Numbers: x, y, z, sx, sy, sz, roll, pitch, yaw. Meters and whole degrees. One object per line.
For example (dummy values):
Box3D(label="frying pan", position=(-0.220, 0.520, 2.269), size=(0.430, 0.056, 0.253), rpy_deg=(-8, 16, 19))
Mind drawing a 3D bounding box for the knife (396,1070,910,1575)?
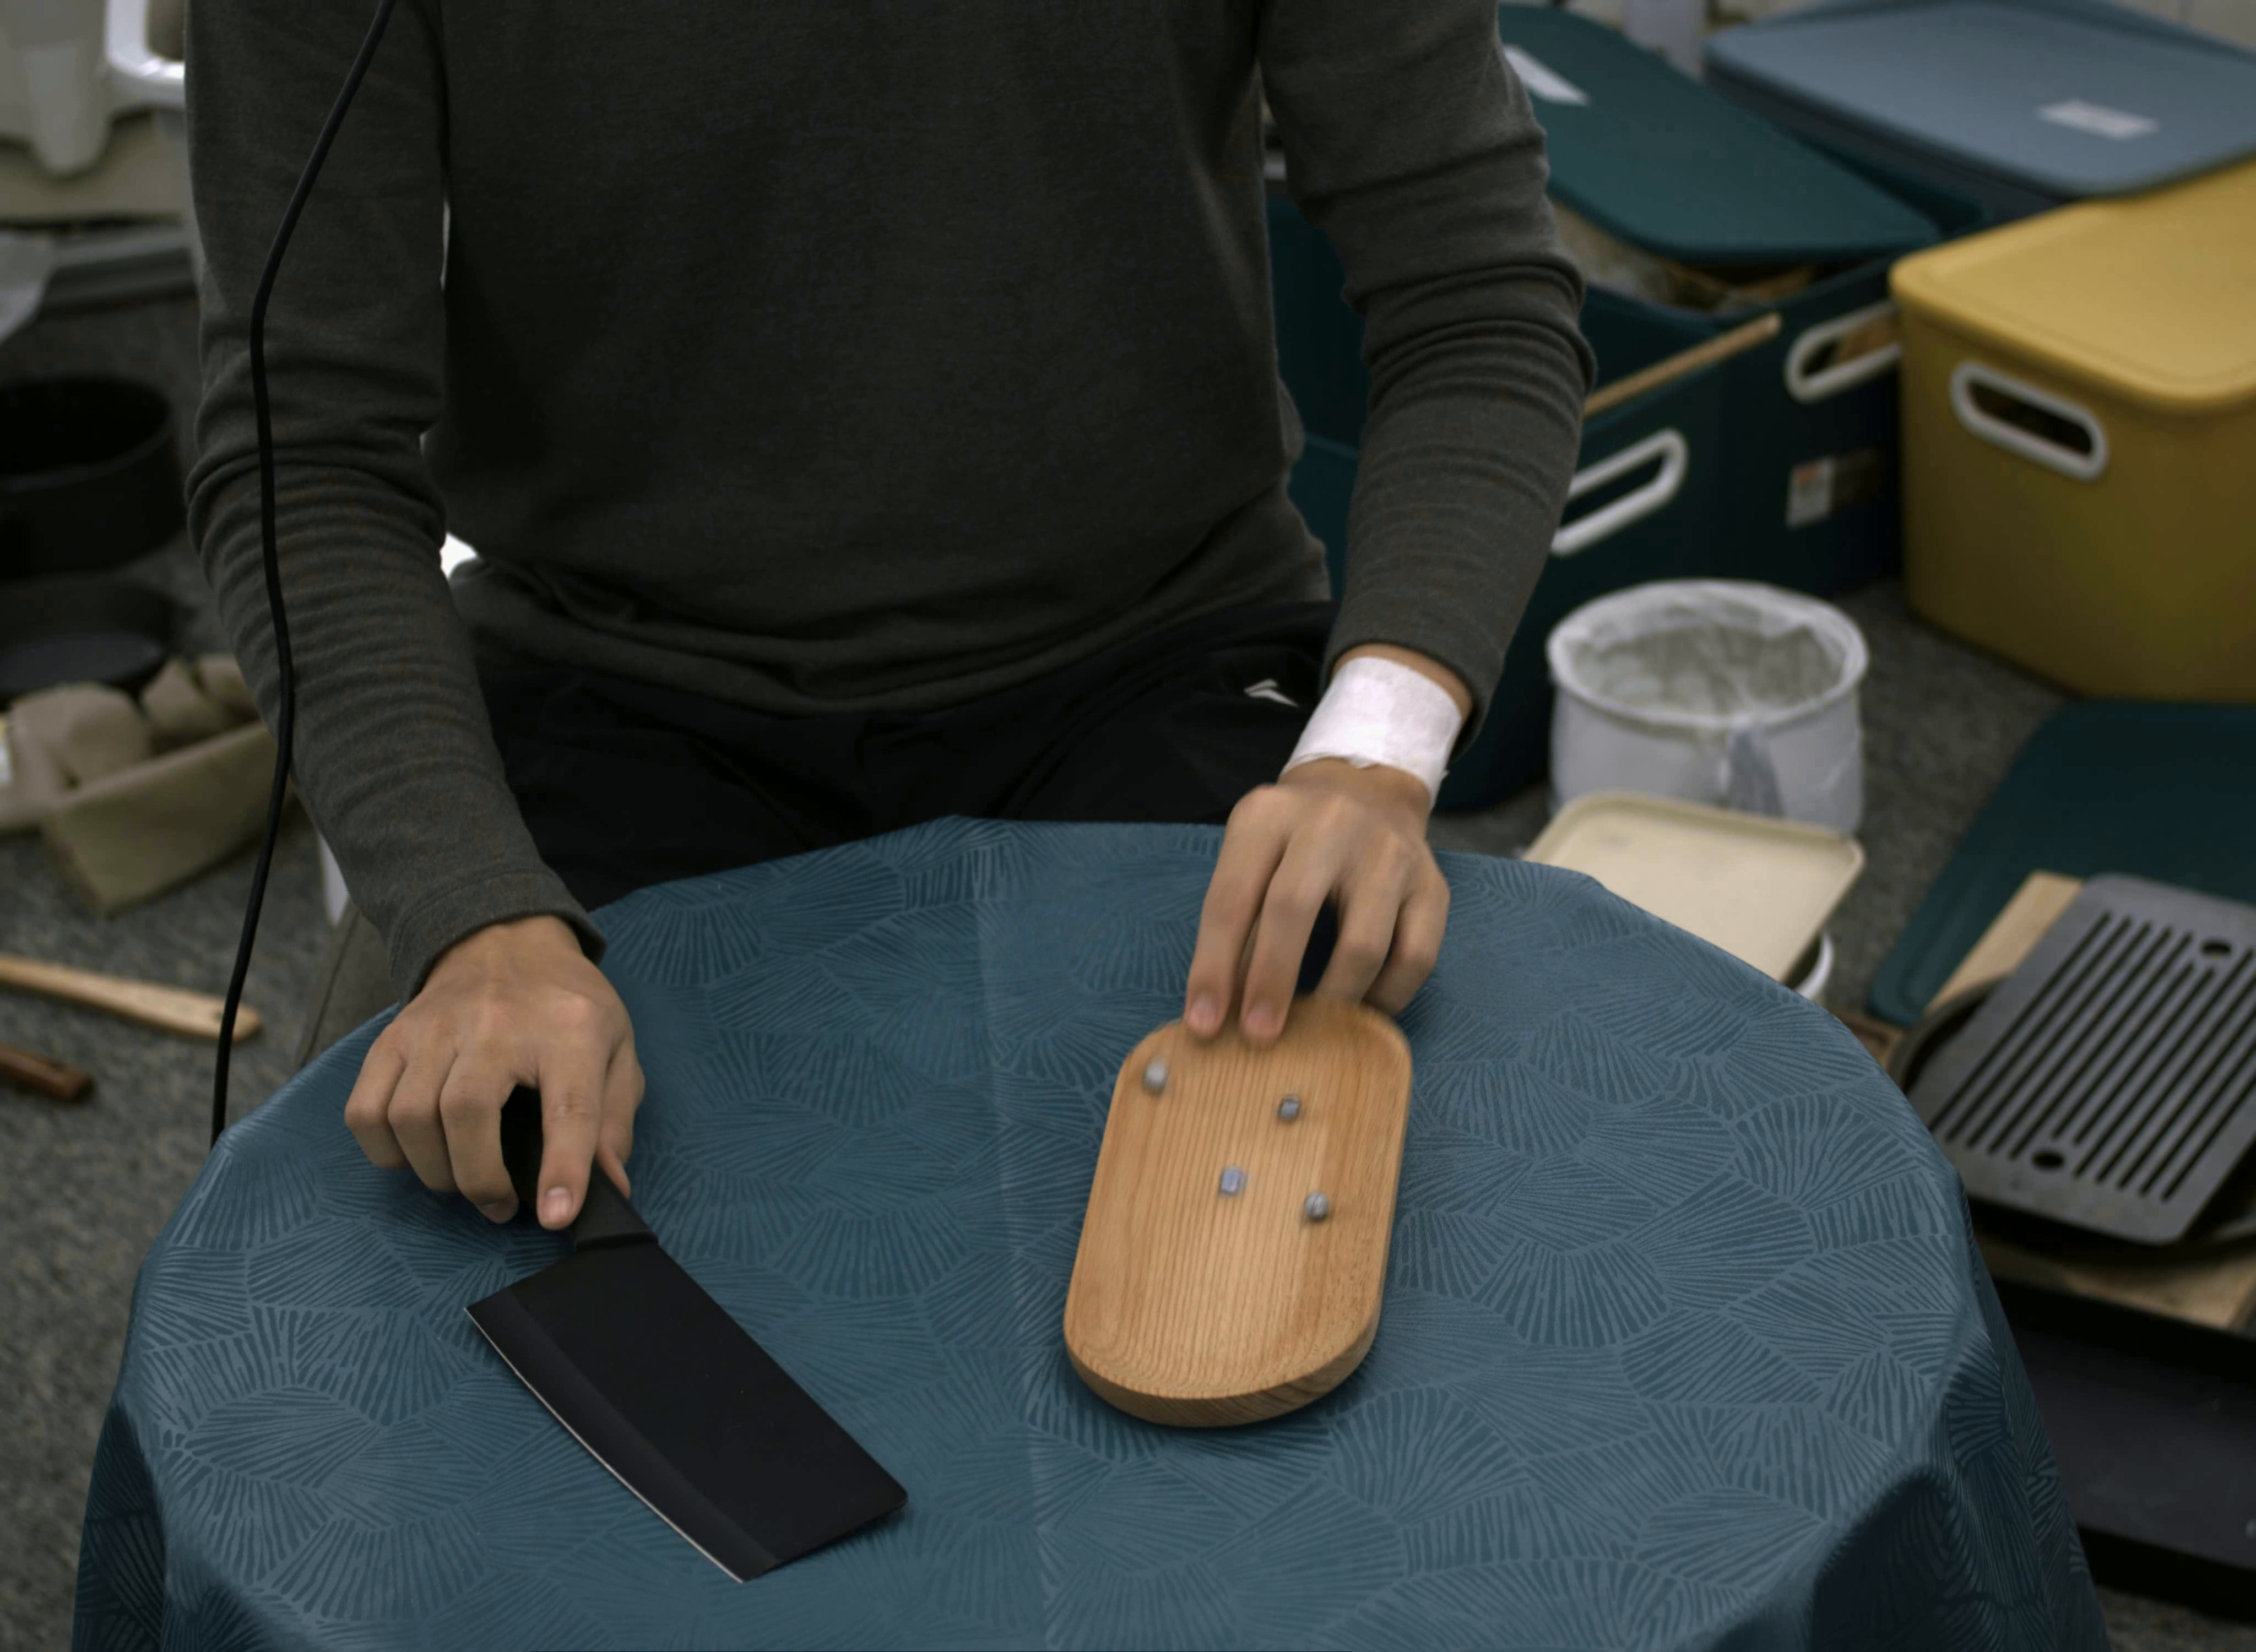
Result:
Box3D(label="knife", position=(-0.167, 0.154, 1.795), size=(0.081, 0.020, 0.304), rpy_deg=(-19, 33, -21))

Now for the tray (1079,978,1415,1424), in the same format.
Box3D(label="tray", position=(0.041, 0.119, 1.820), size=(0.101, 0.020, 0.235), rpy_deg=(-5, 32, 8))
